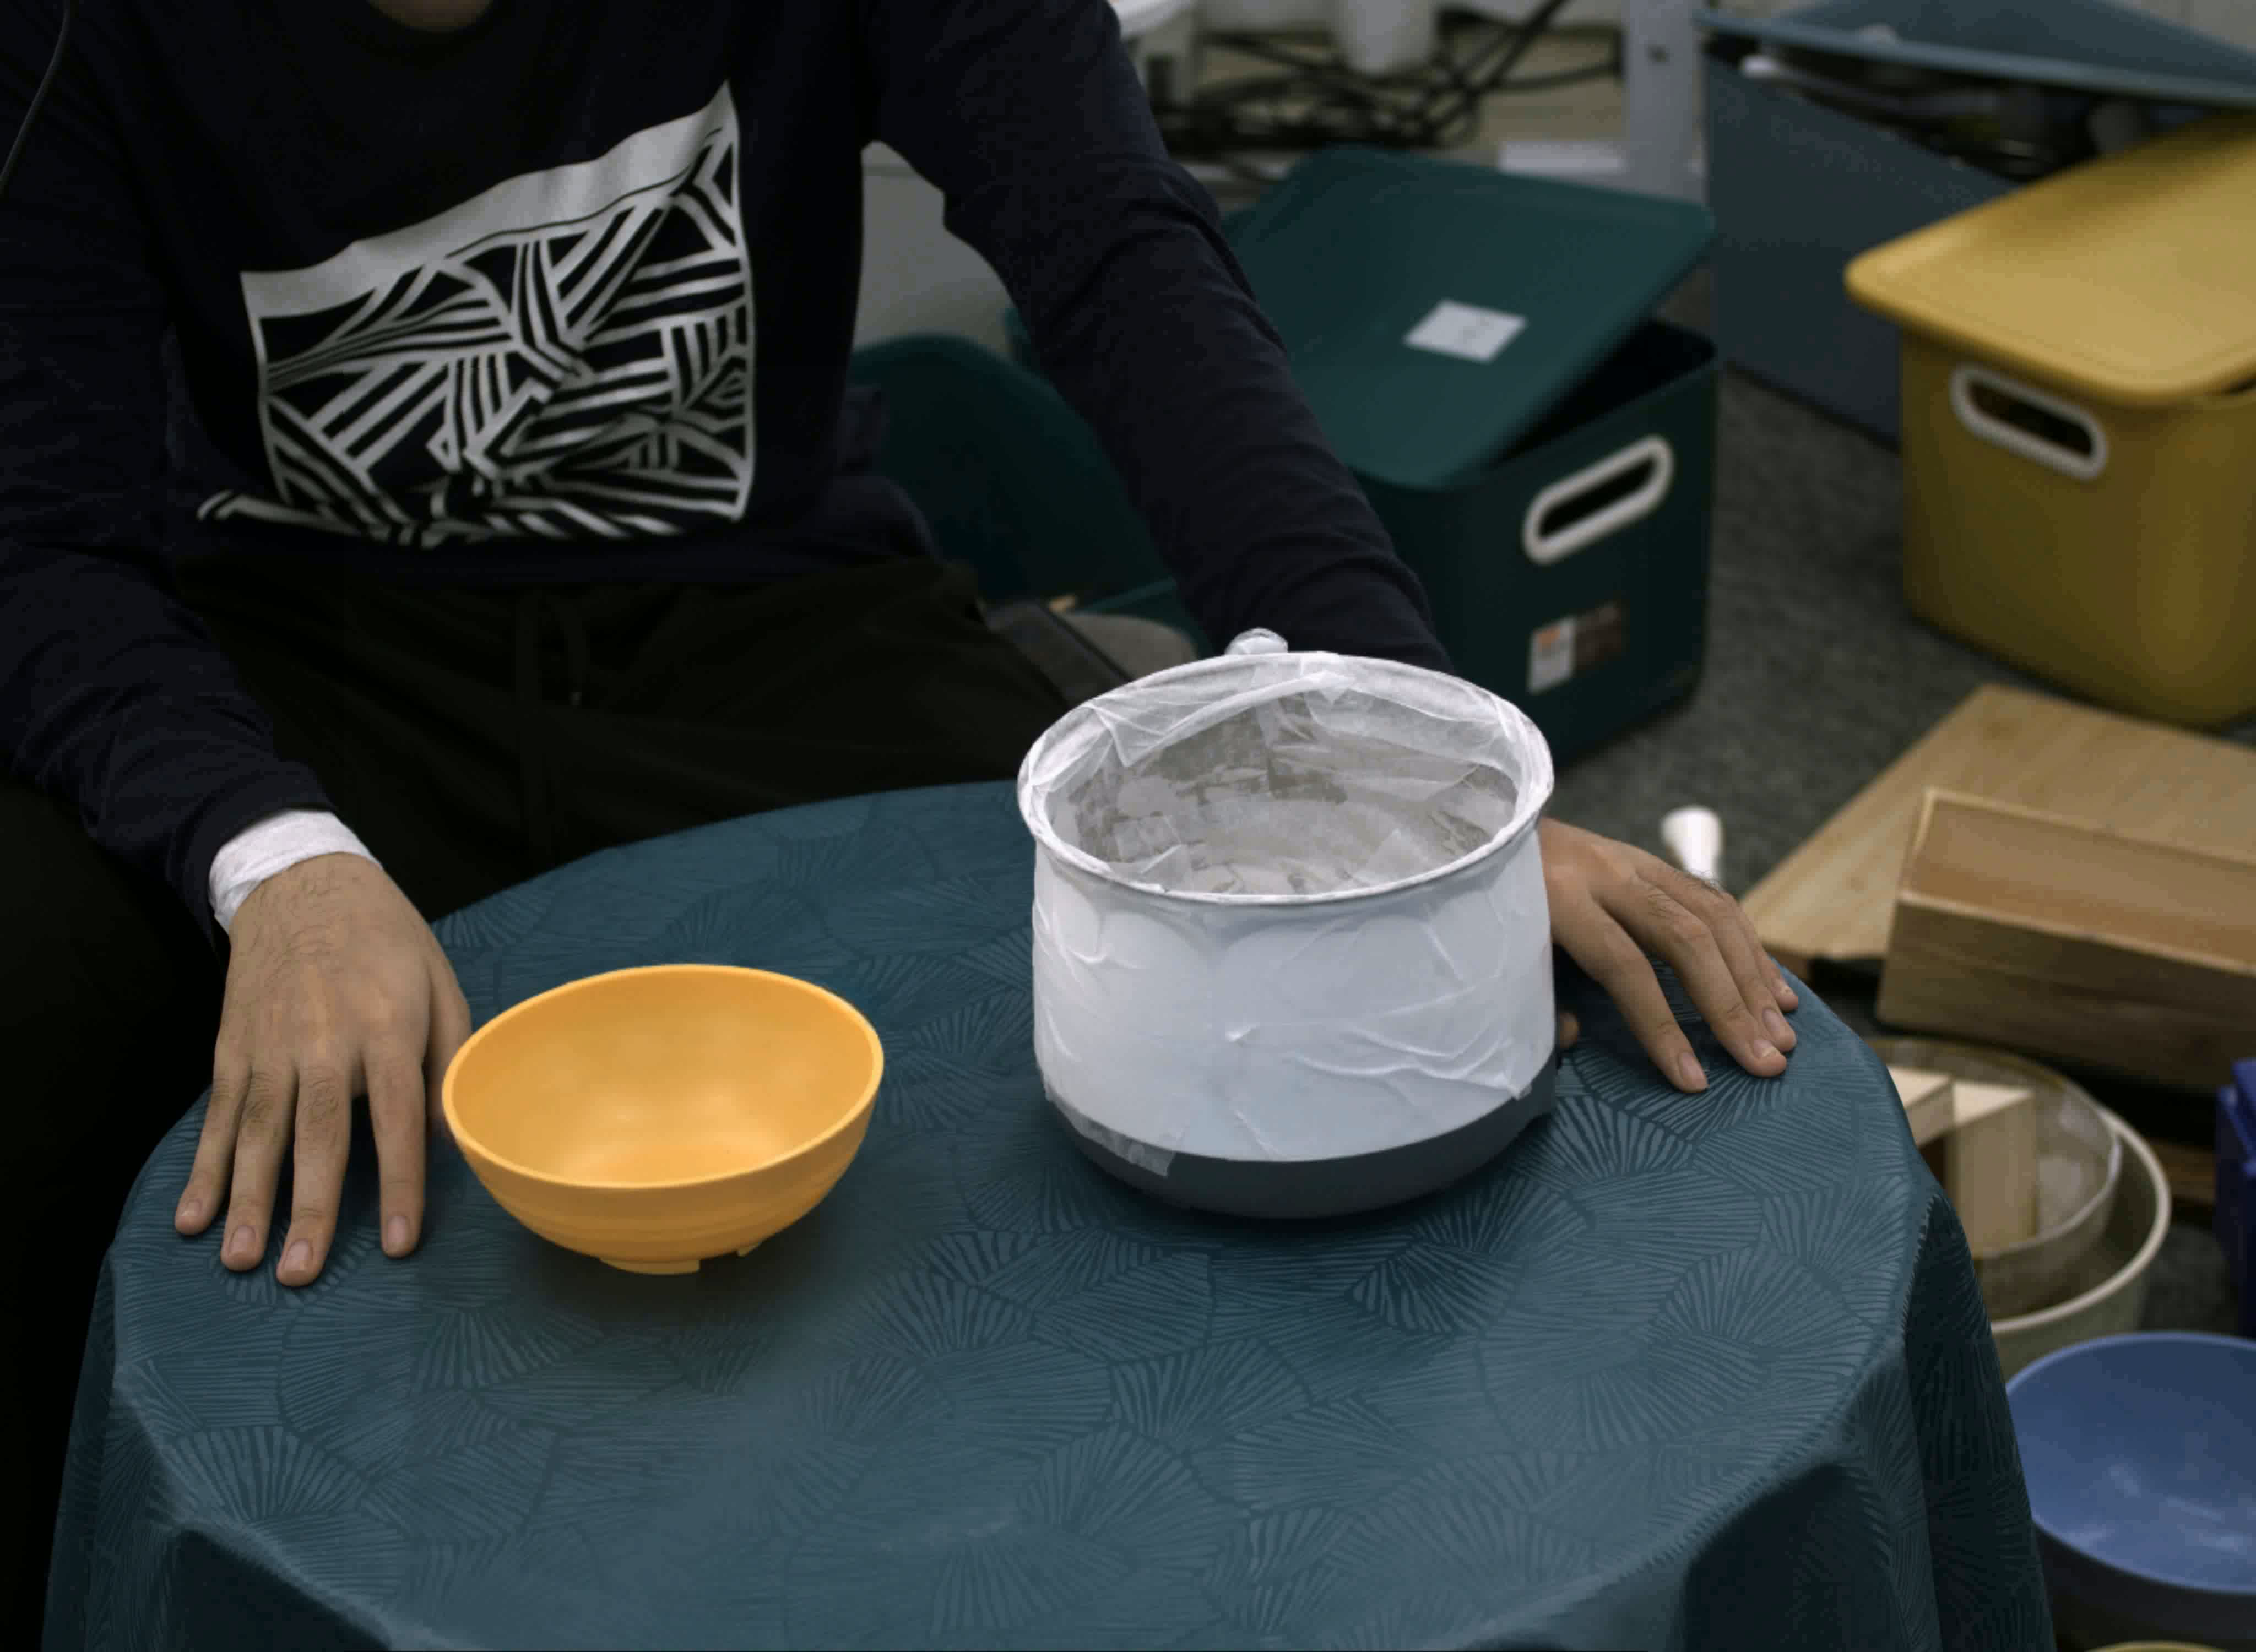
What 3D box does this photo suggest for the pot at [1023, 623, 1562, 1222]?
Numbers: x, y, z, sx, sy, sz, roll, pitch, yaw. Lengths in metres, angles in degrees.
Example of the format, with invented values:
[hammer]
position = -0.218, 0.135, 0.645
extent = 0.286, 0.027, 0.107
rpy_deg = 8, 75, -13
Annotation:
[pot]
position = 0.052, 0.025, 1.895
extent = 0.178, 0.135, 0.237
rpy_deg = -3, 27, -5

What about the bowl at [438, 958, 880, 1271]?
[bowl]
position = -0.152, 0.104, 1.843
extent = 0.144, 0.059, 0.147
rpy_deg = -1, 28, 1
